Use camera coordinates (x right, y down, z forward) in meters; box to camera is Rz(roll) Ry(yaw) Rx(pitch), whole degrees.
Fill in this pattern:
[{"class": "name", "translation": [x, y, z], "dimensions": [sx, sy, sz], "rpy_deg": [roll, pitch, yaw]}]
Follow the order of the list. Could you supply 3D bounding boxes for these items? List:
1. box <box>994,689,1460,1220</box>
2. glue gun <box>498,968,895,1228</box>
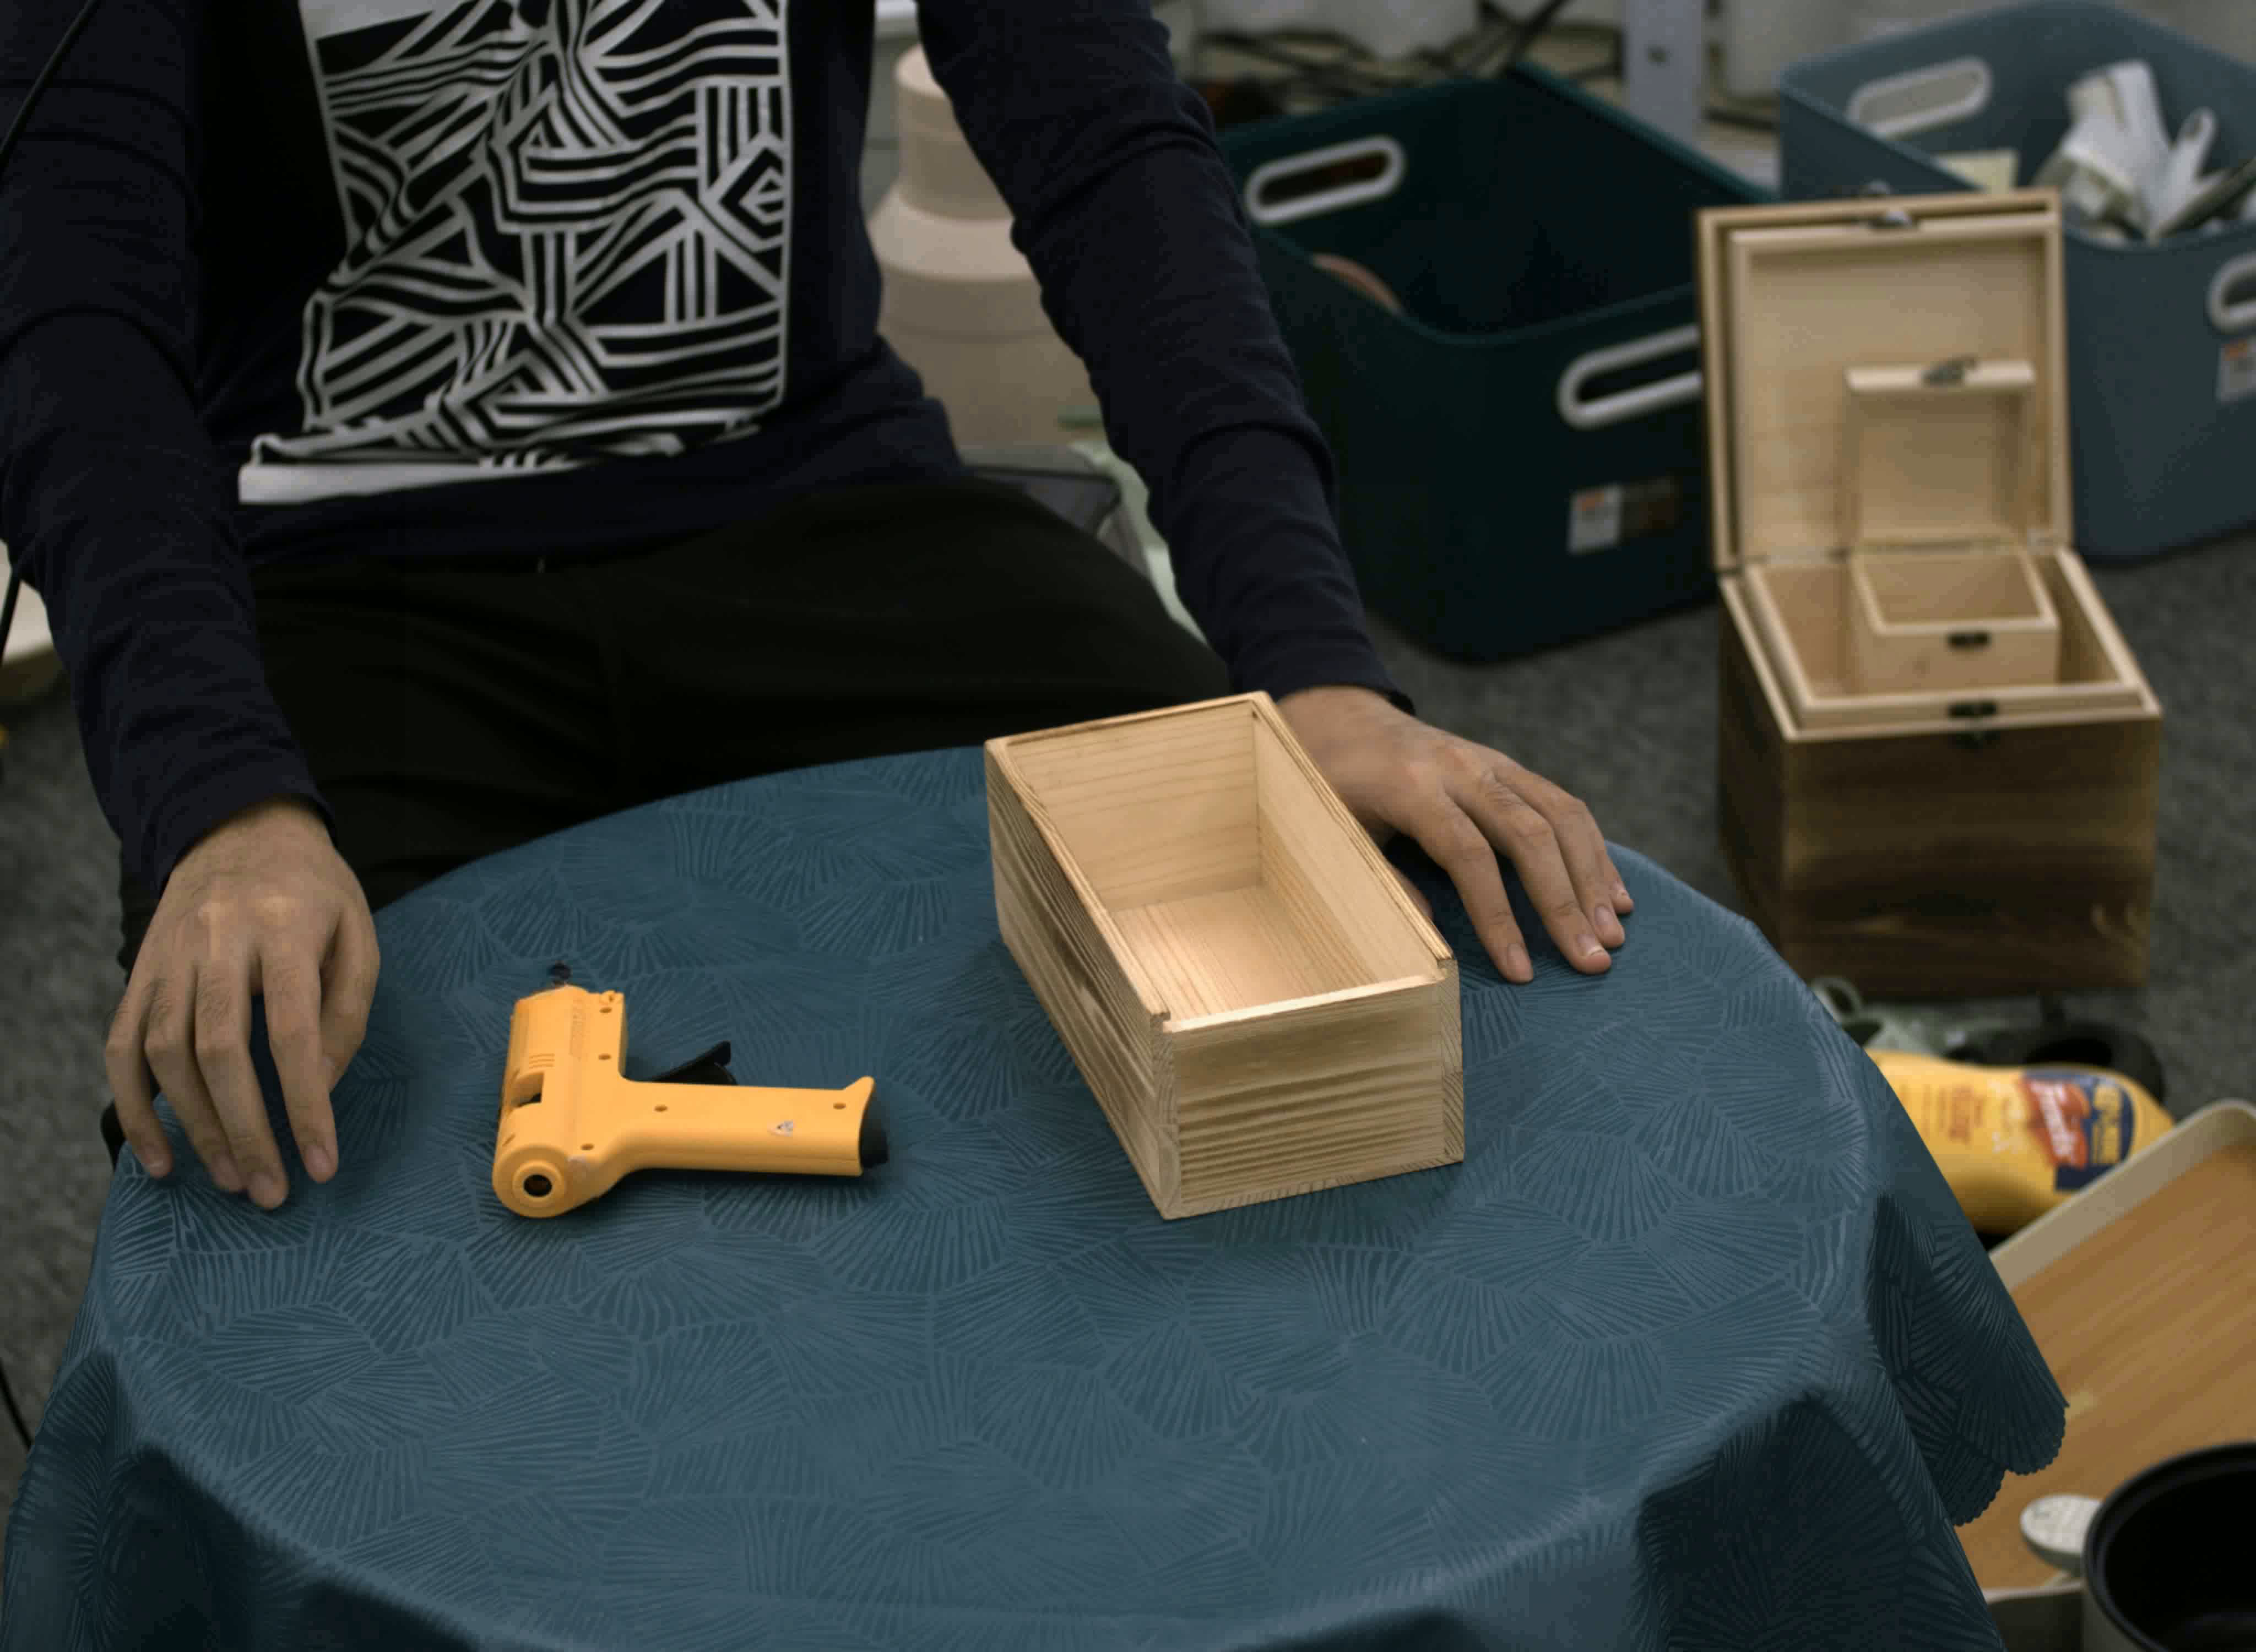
[{"class": "box", "translation": [0.031, 0.040, 1.934], "dimensions": [0.107, 0.079, 0.213], "rpy_deg": [-10, 29, -13]}, {"class": "glue gun", "translation": [-0.152, 0.083, 1.928], "dimensions": [0.133, 0.031, 0.153], "rpy_deg": [-5, 28, -6]}]
